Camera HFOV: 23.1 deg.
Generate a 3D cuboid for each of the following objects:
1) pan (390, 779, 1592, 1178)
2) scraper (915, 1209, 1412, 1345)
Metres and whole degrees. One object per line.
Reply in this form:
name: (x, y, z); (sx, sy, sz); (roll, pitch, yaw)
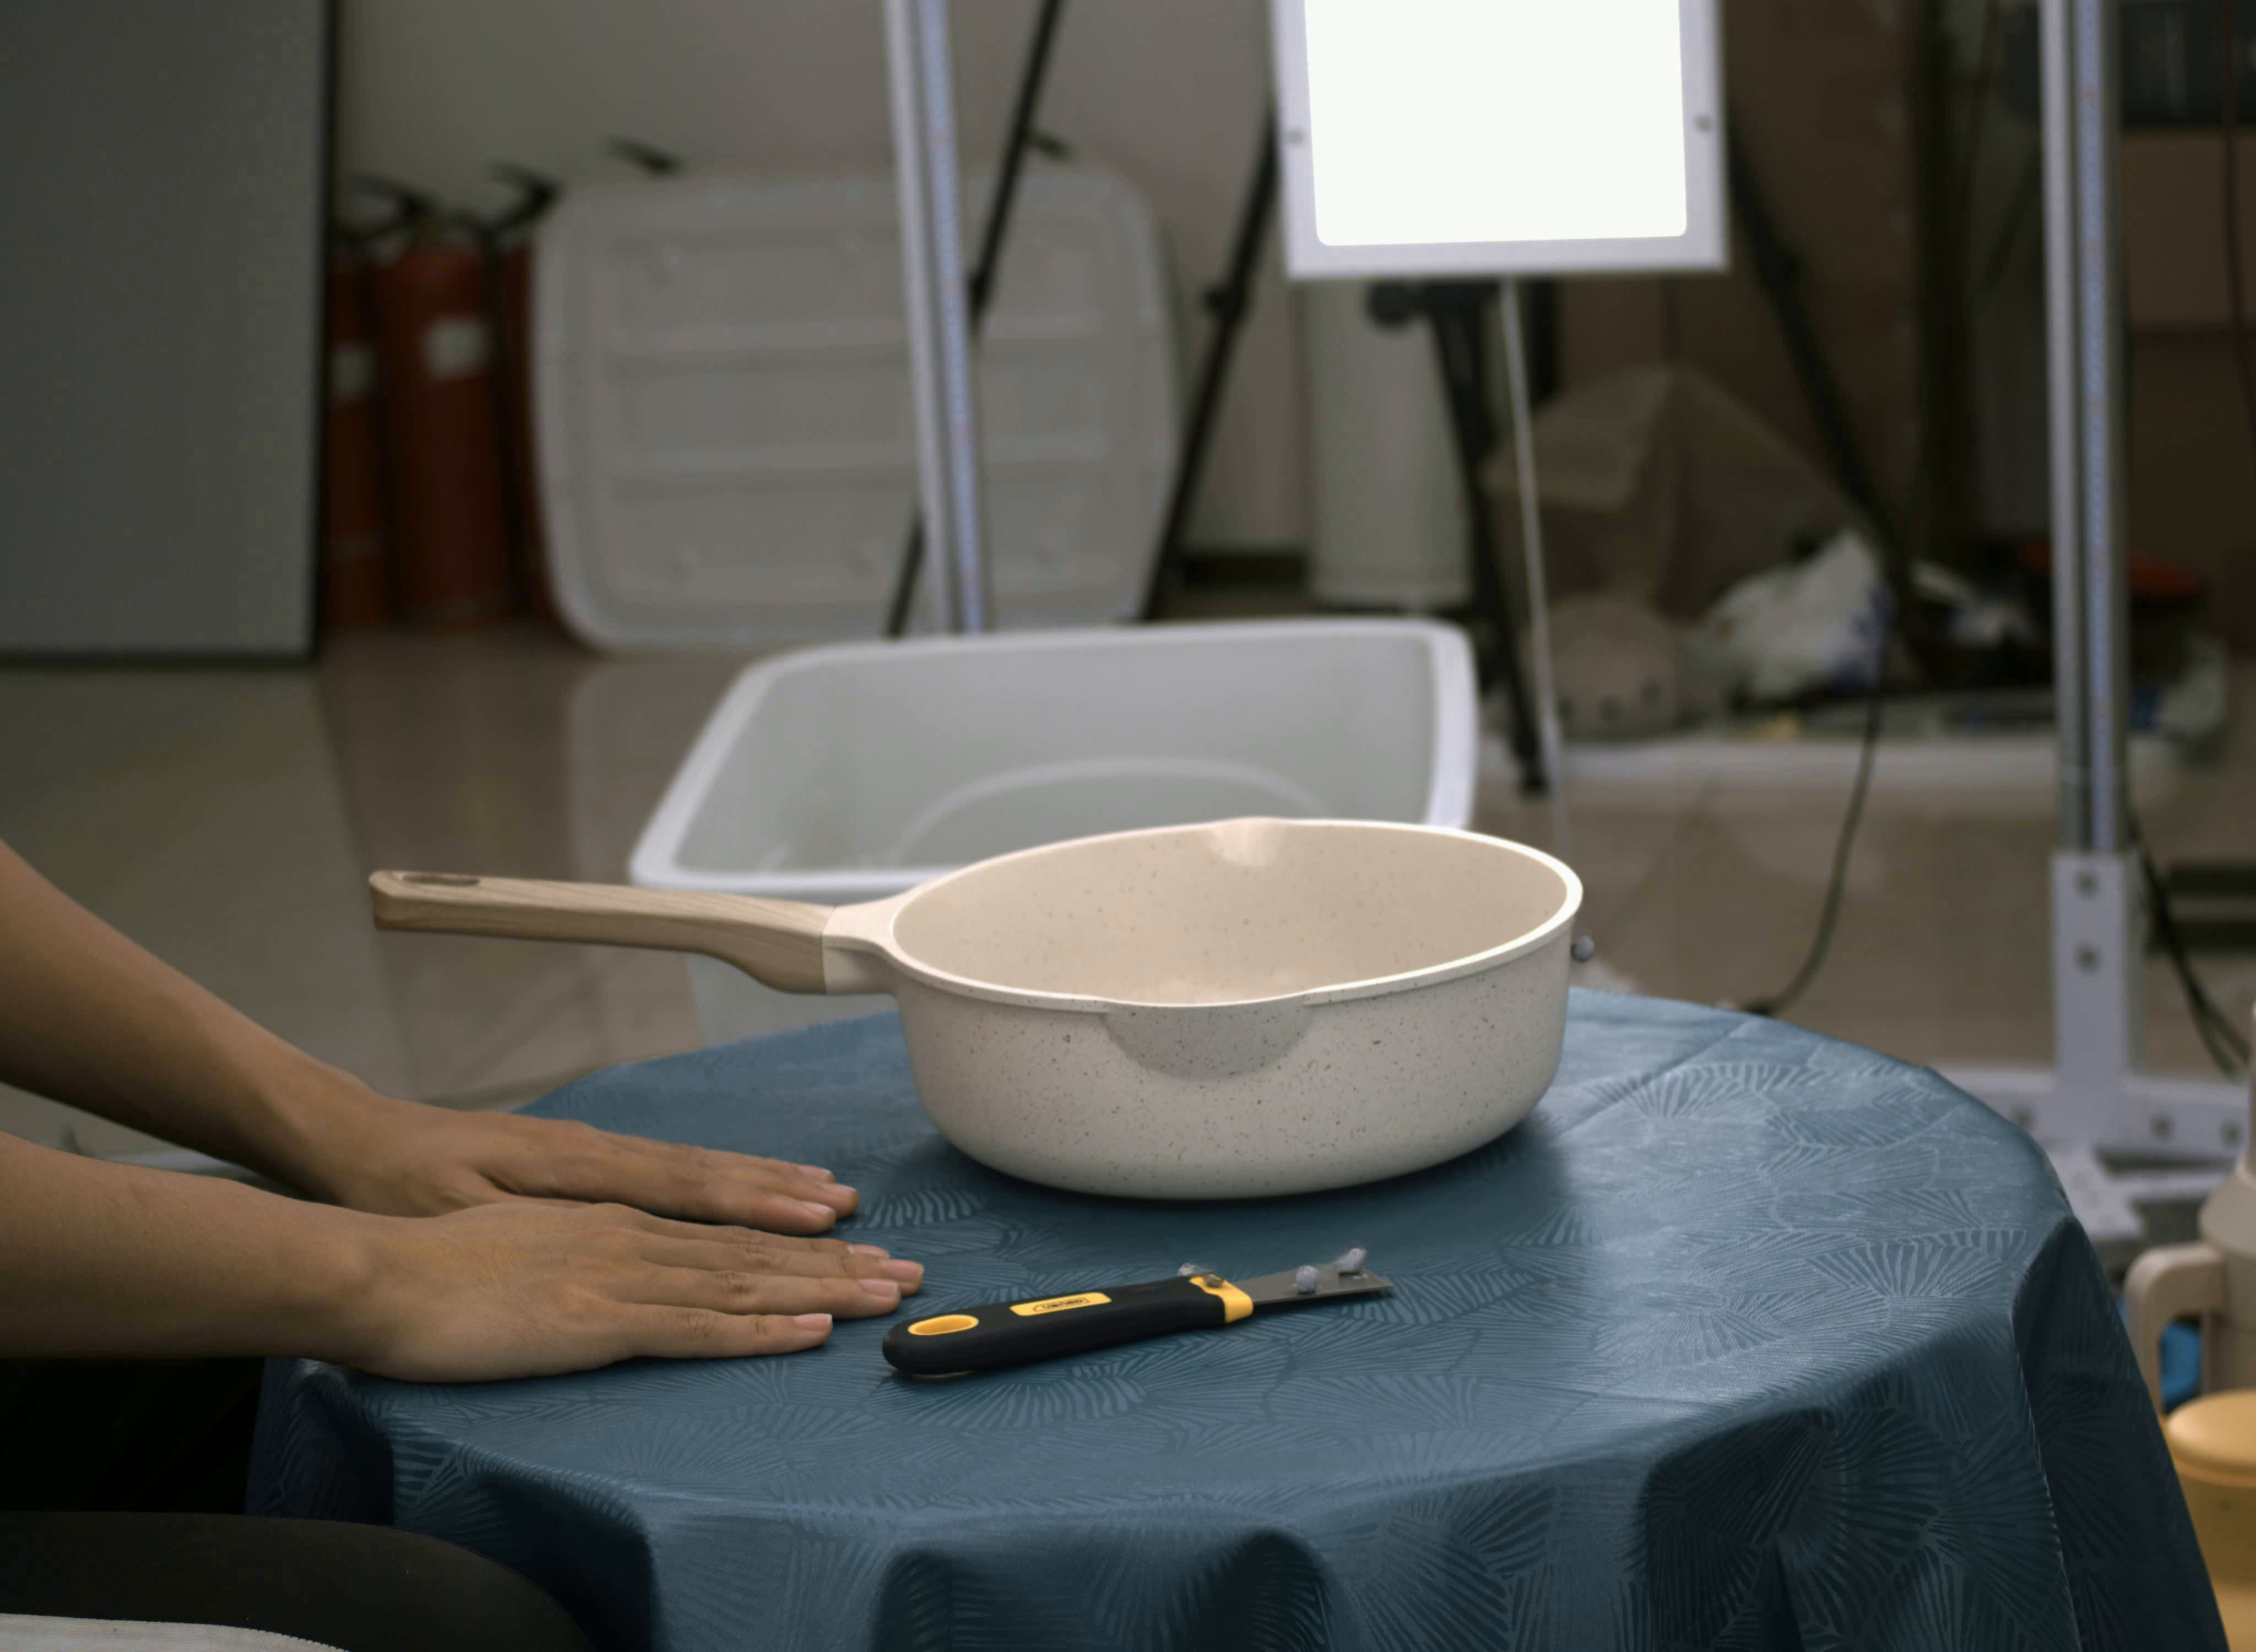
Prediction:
pan: (-0.047, 0.054, 1.989); (0.436, 0.102, 0.261); (-3, 16, 7)
scraper: (0.011, 0.144, 1.763); (0.167, 0.015, 0.039); (-8, 17, -23)
